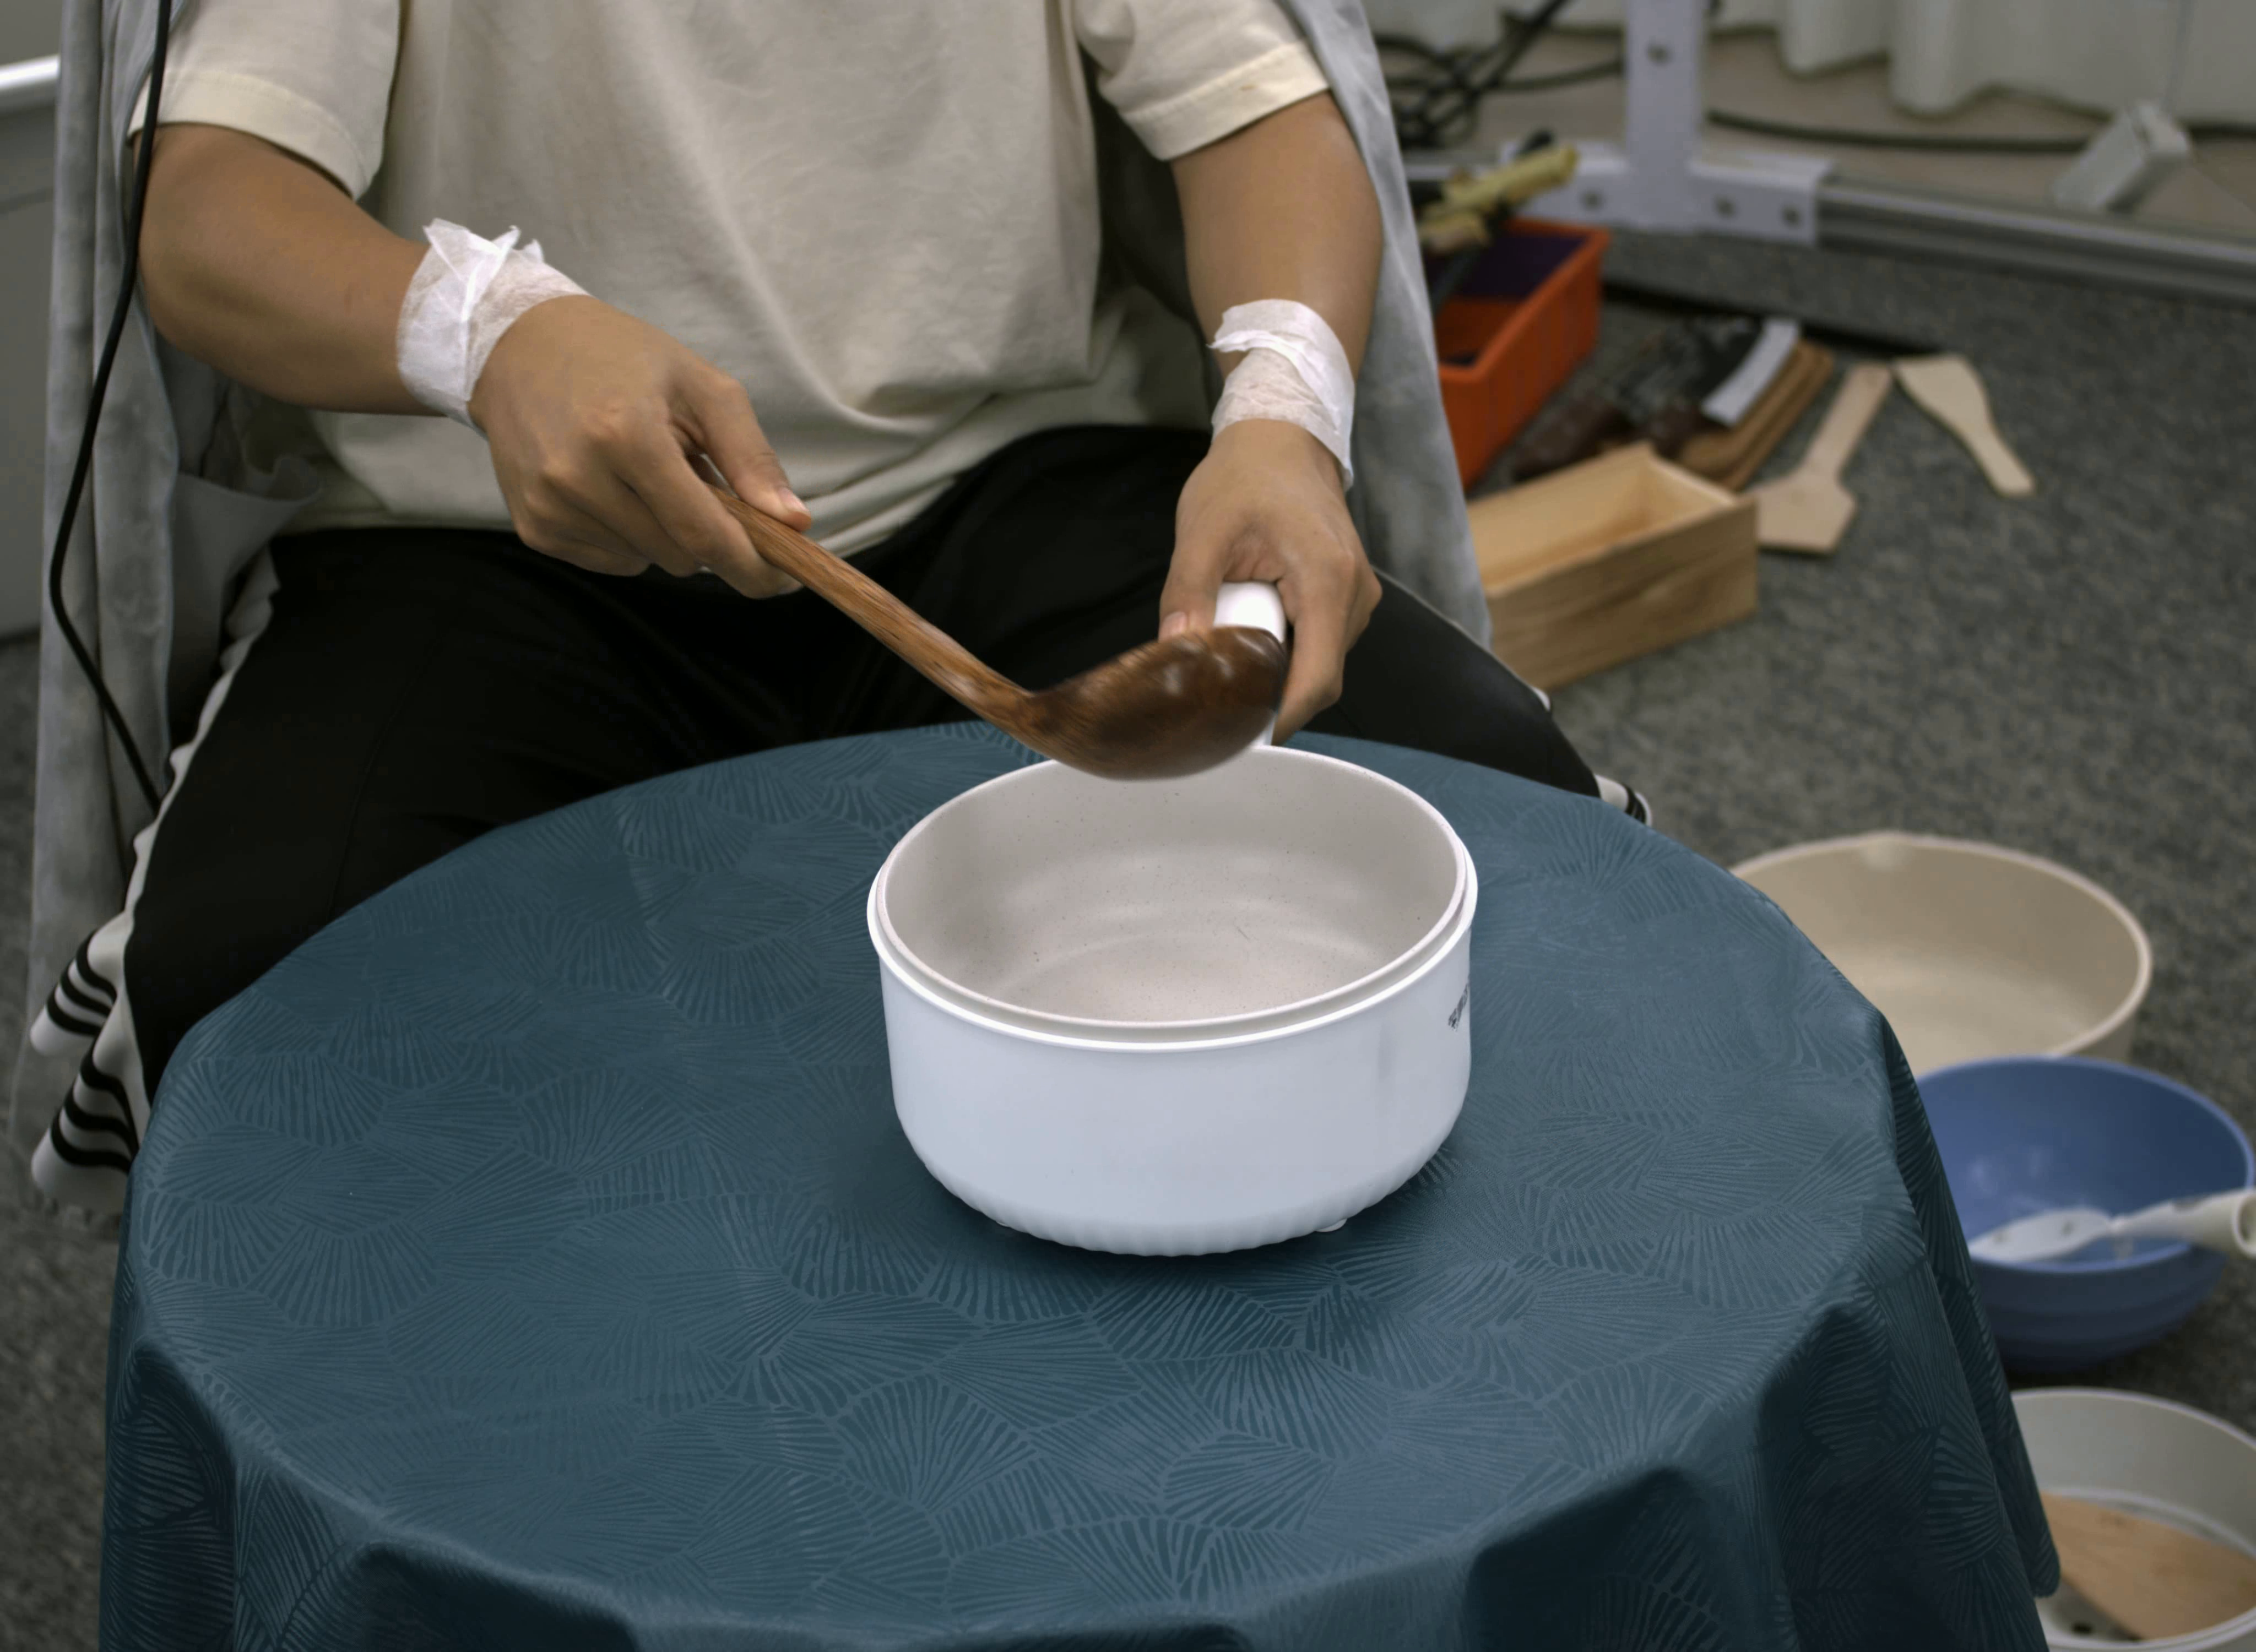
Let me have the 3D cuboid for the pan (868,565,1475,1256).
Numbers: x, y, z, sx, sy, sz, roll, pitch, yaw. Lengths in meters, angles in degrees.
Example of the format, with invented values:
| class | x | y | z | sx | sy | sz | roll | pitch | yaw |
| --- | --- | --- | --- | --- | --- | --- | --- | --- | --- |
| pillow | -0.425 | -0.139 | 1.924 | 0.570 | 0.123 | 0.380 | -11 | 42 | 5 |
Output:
| class | x | y | z | sx | sy | sz | roll | pitch | yaw |
| --- | --- | --- | --- | --- | --- | --- | --- | --- | --- |
| pan | 0.026 | 0.026 | 1.937 | 0.200 | 0.101 | 0.360 | 0 | 27 | 7 |

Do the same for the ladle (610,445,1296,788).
| class | x | y | z | sx | sy | sz | roll | pitch | yaw |
| --- | --- | --- | --- | --- | --- | --- | --- | --- | --- |
| ladle | -0.061 | -0.089 | 1.891 | 0.274 | 0.081 | 0.077 | 33 | 85 | 31 |
